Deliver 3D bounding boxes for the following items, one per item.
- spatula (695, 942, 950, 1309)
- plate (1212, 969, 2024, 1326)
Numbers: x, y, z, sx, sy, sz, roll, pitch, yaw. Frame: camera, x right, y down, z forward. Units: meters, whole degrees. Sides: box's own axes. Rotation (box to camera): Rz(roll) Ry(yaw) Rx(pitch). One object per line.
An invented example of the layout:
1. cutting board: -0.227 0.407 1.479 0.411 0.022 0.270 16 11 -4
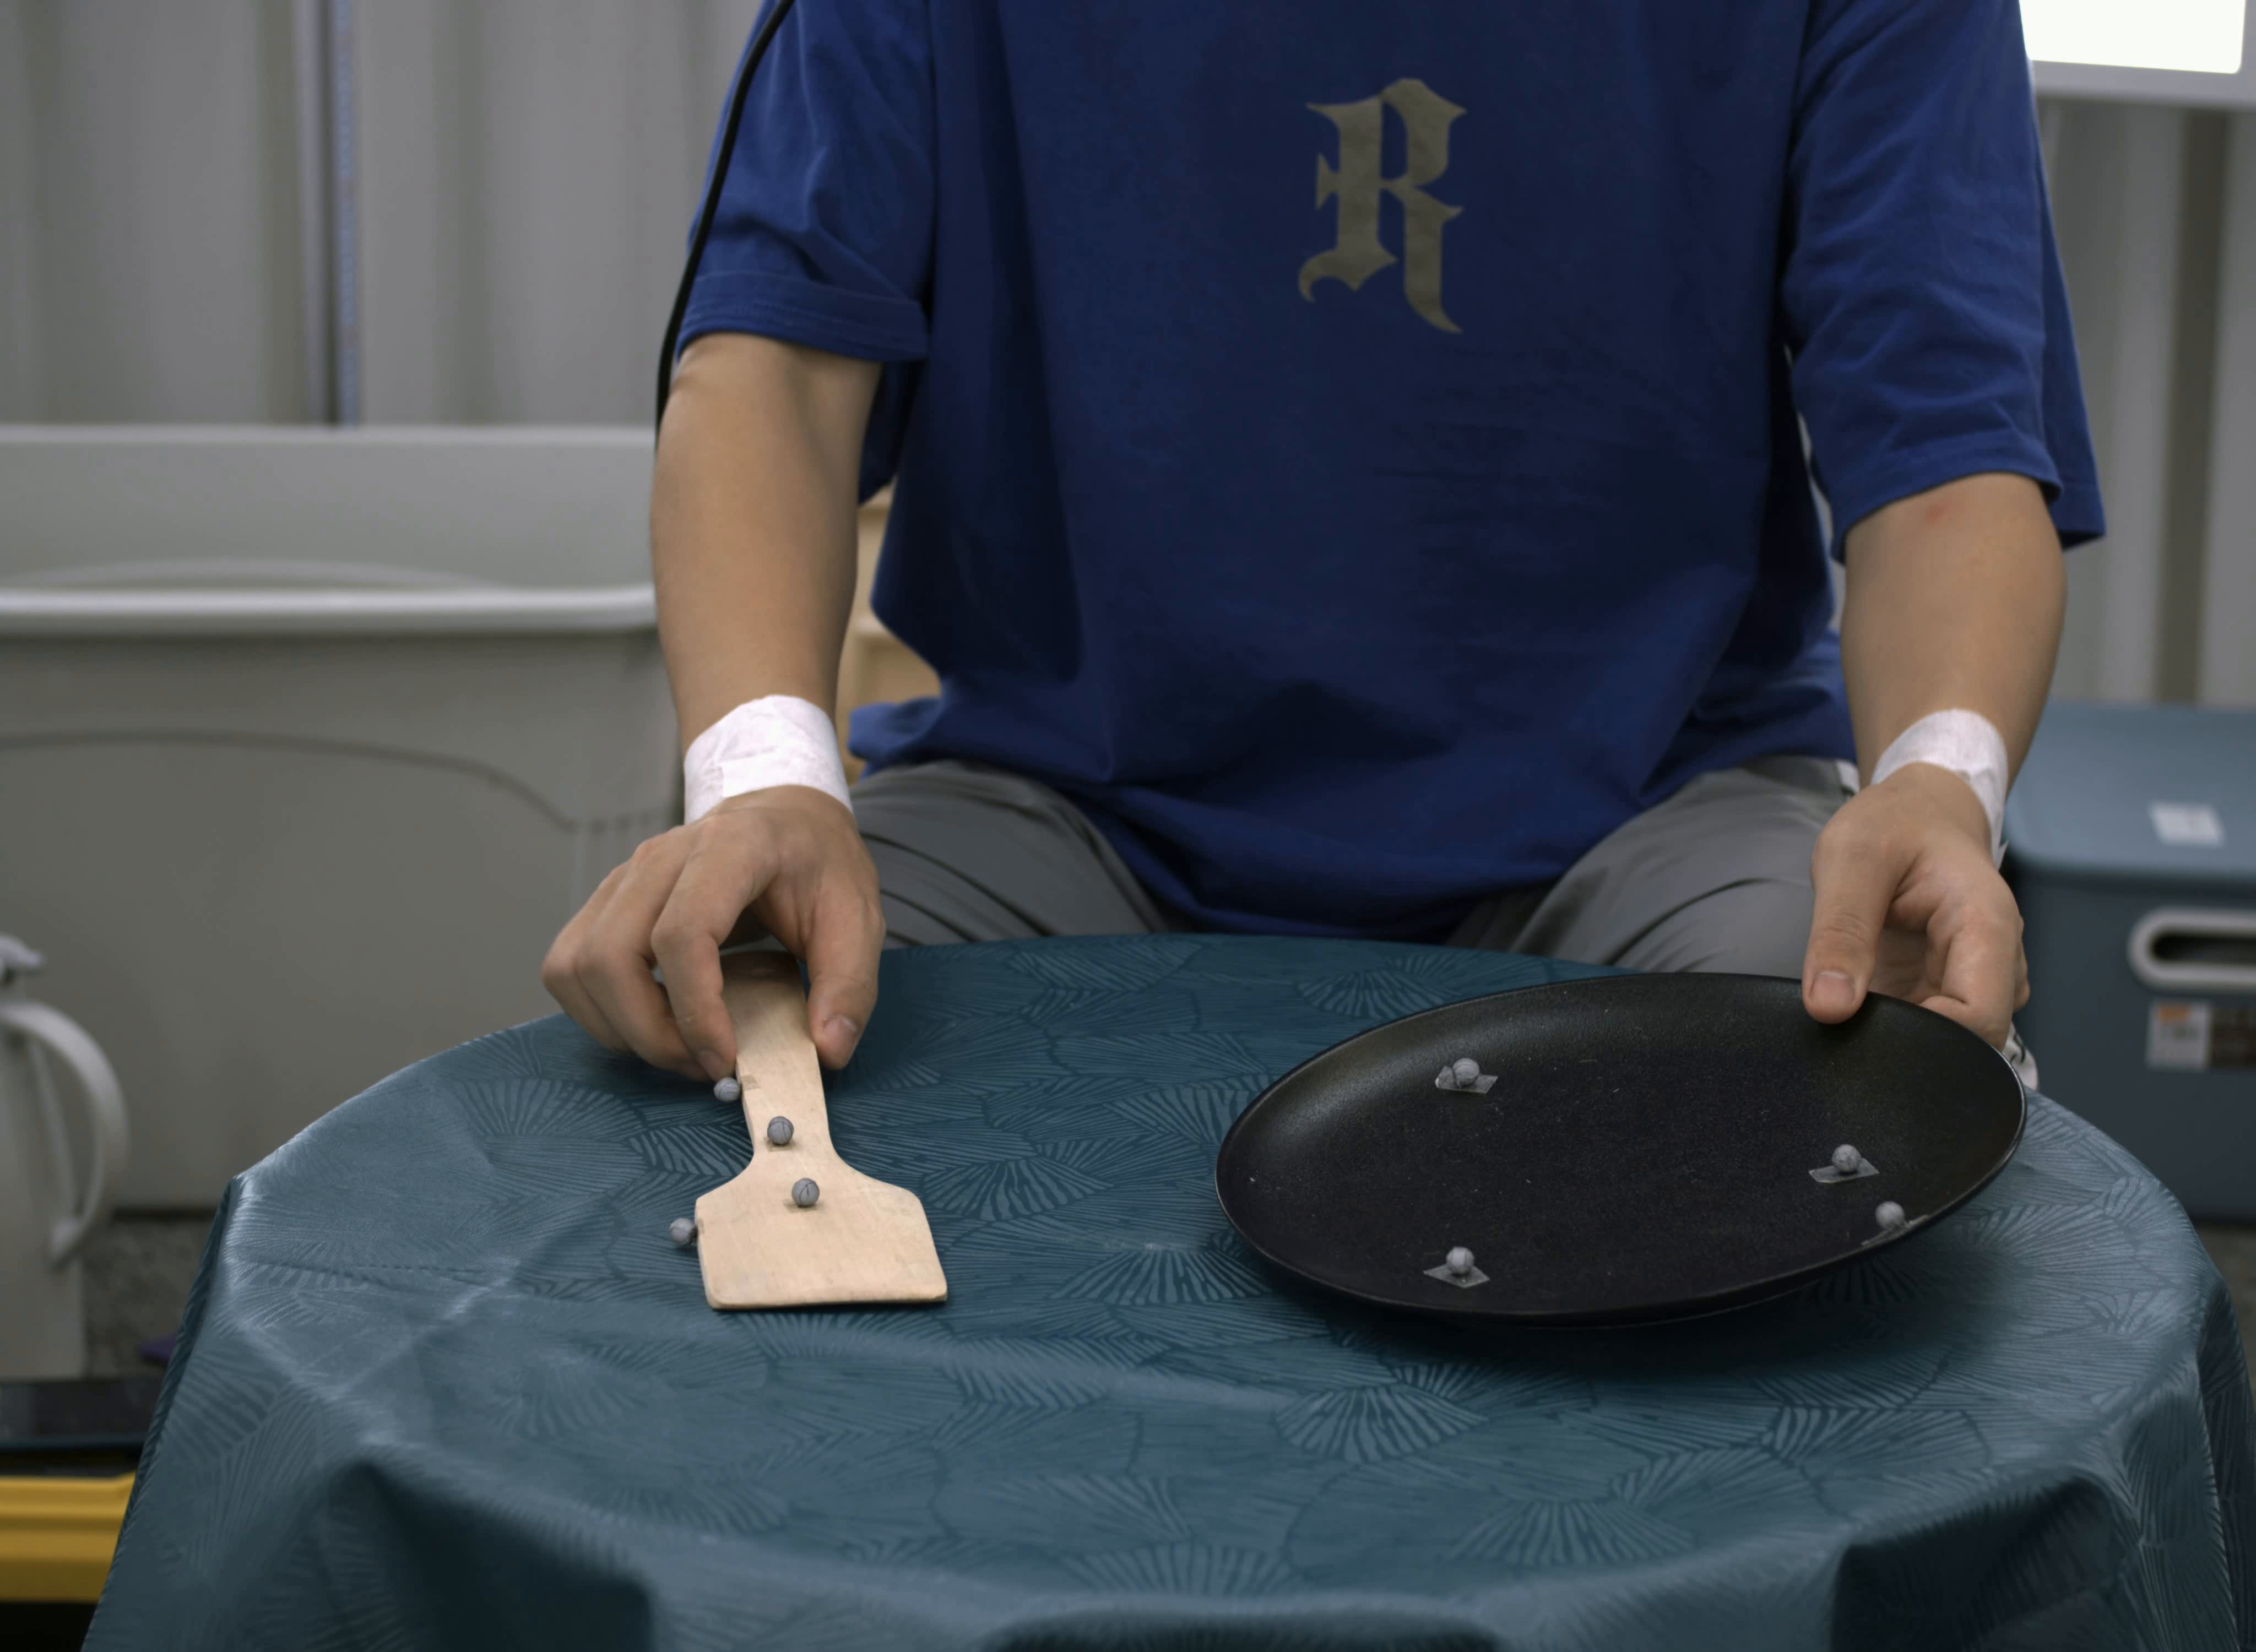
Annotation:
1. spatula: -0.107 0.091 1.653 0.072 0.011 0.290 -2 20 -8
2. plate: 0.146 0.100 1.577 0.243 0.023 0.243 -6 21 3
